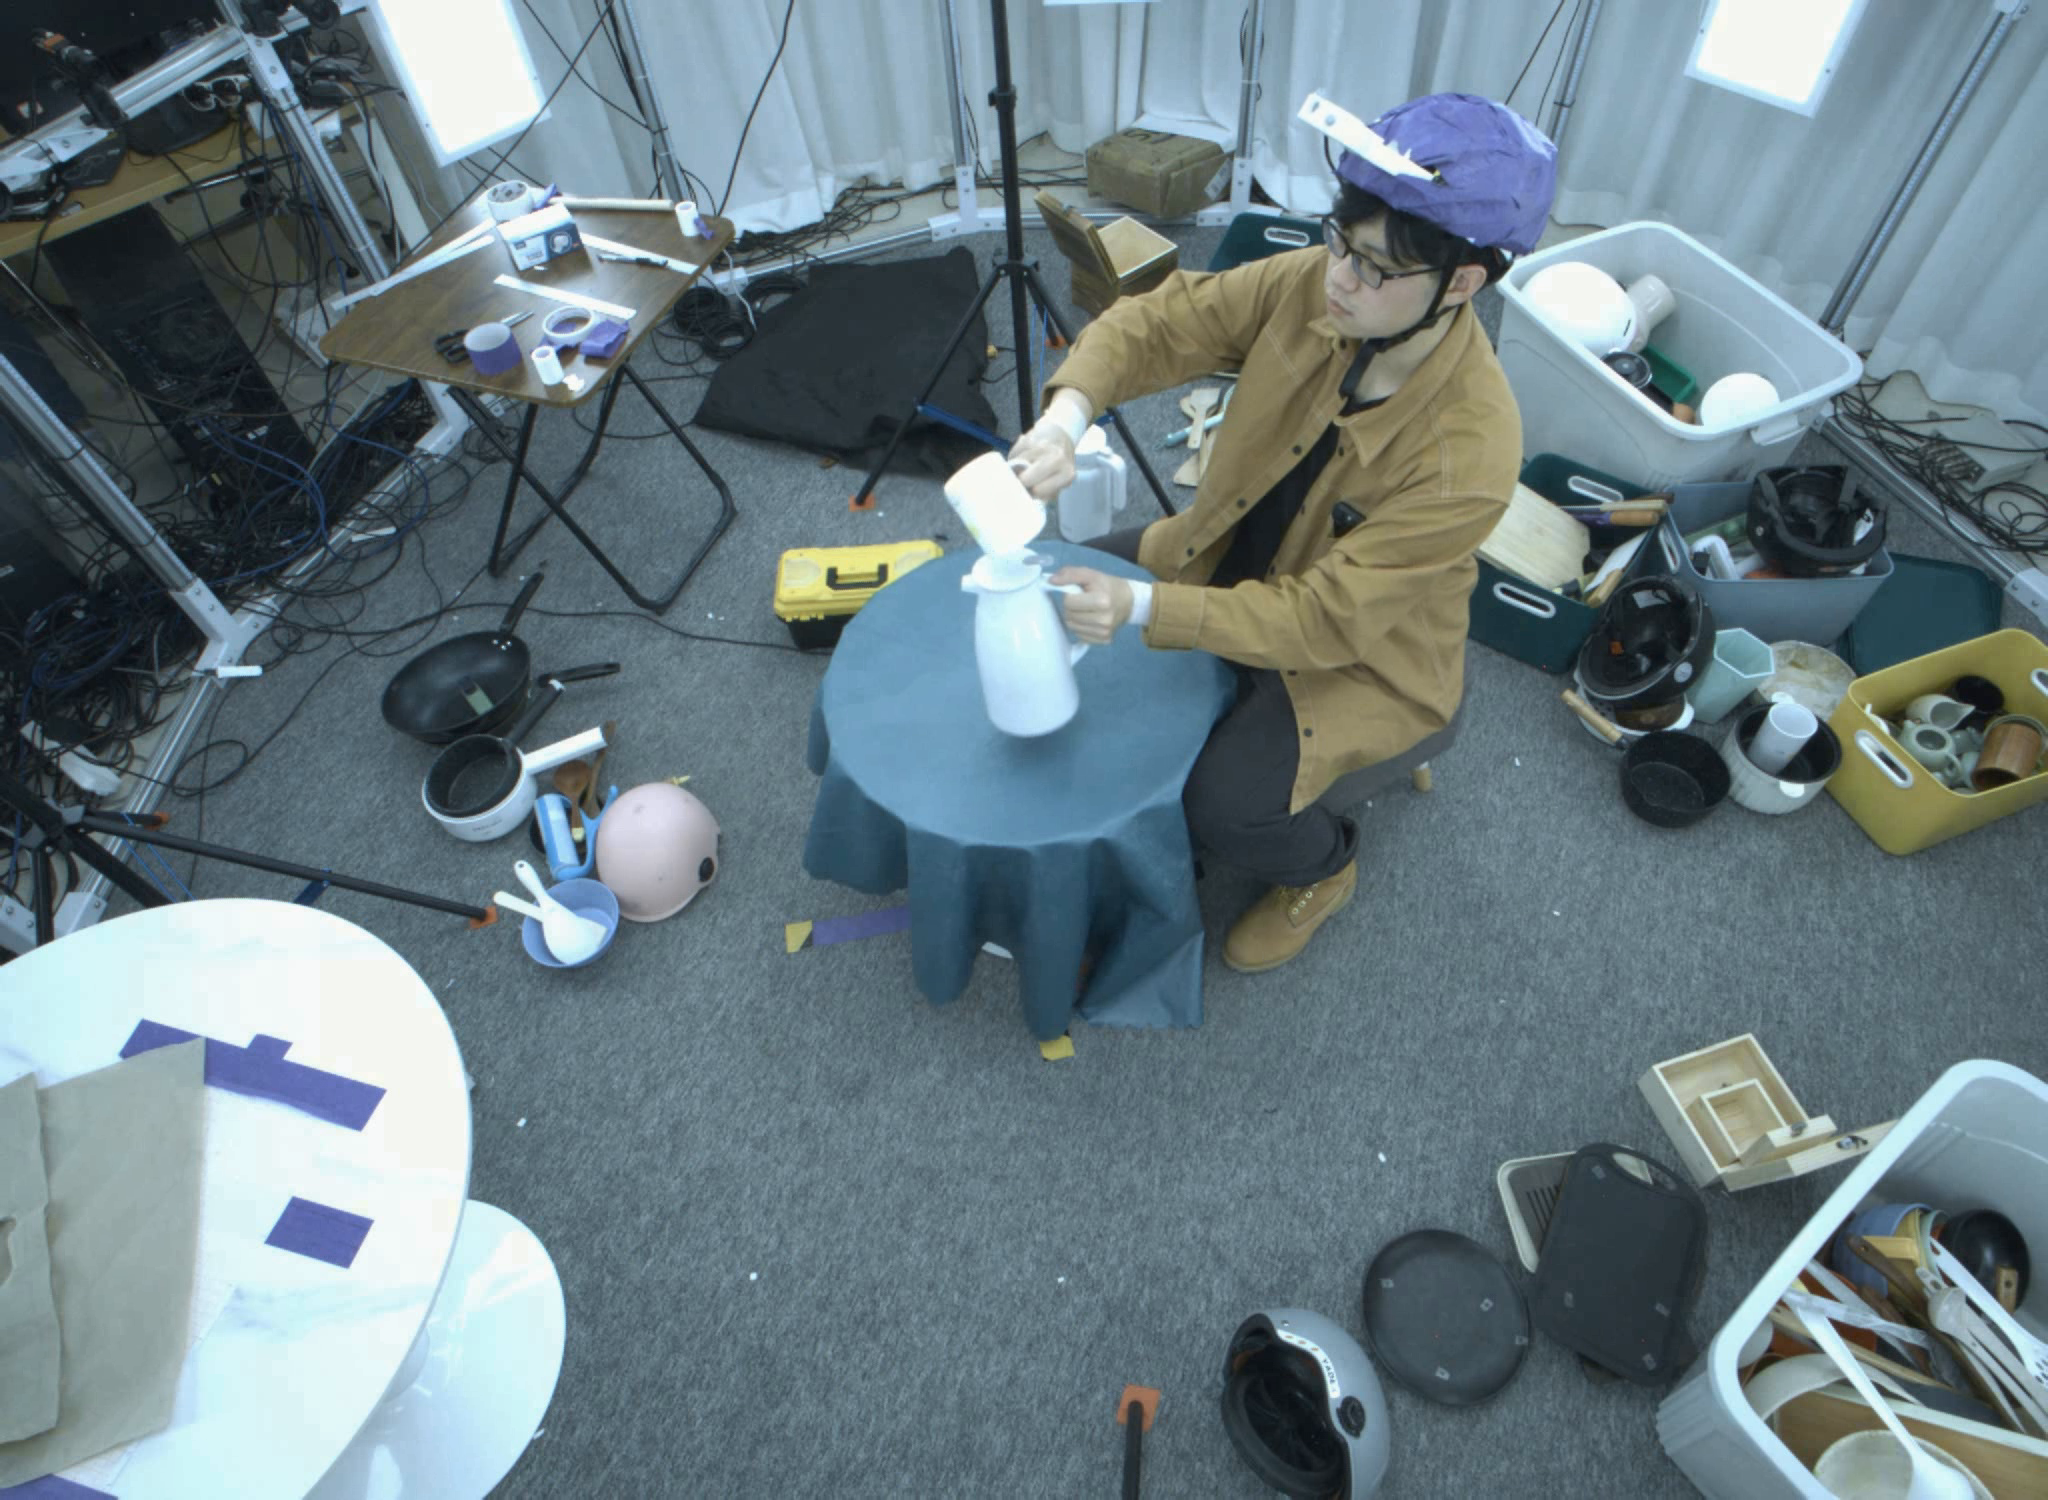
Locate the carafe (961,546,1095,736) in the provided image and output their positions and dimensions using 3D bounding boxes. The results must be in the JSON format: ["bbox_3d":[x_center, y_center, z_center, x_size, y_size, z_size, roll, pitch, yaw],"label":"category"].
[{"bbox_3d":[0.013,-0.154,1.643,0.167,0.252,0.131,-5,44,5],"label":"carafe"}]

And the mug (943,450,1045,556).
[{"bbox_3d":[-0.029,-0.310,1.479,0.119,0.104,0.083,-47,28,-21],"label":"mug"}]
